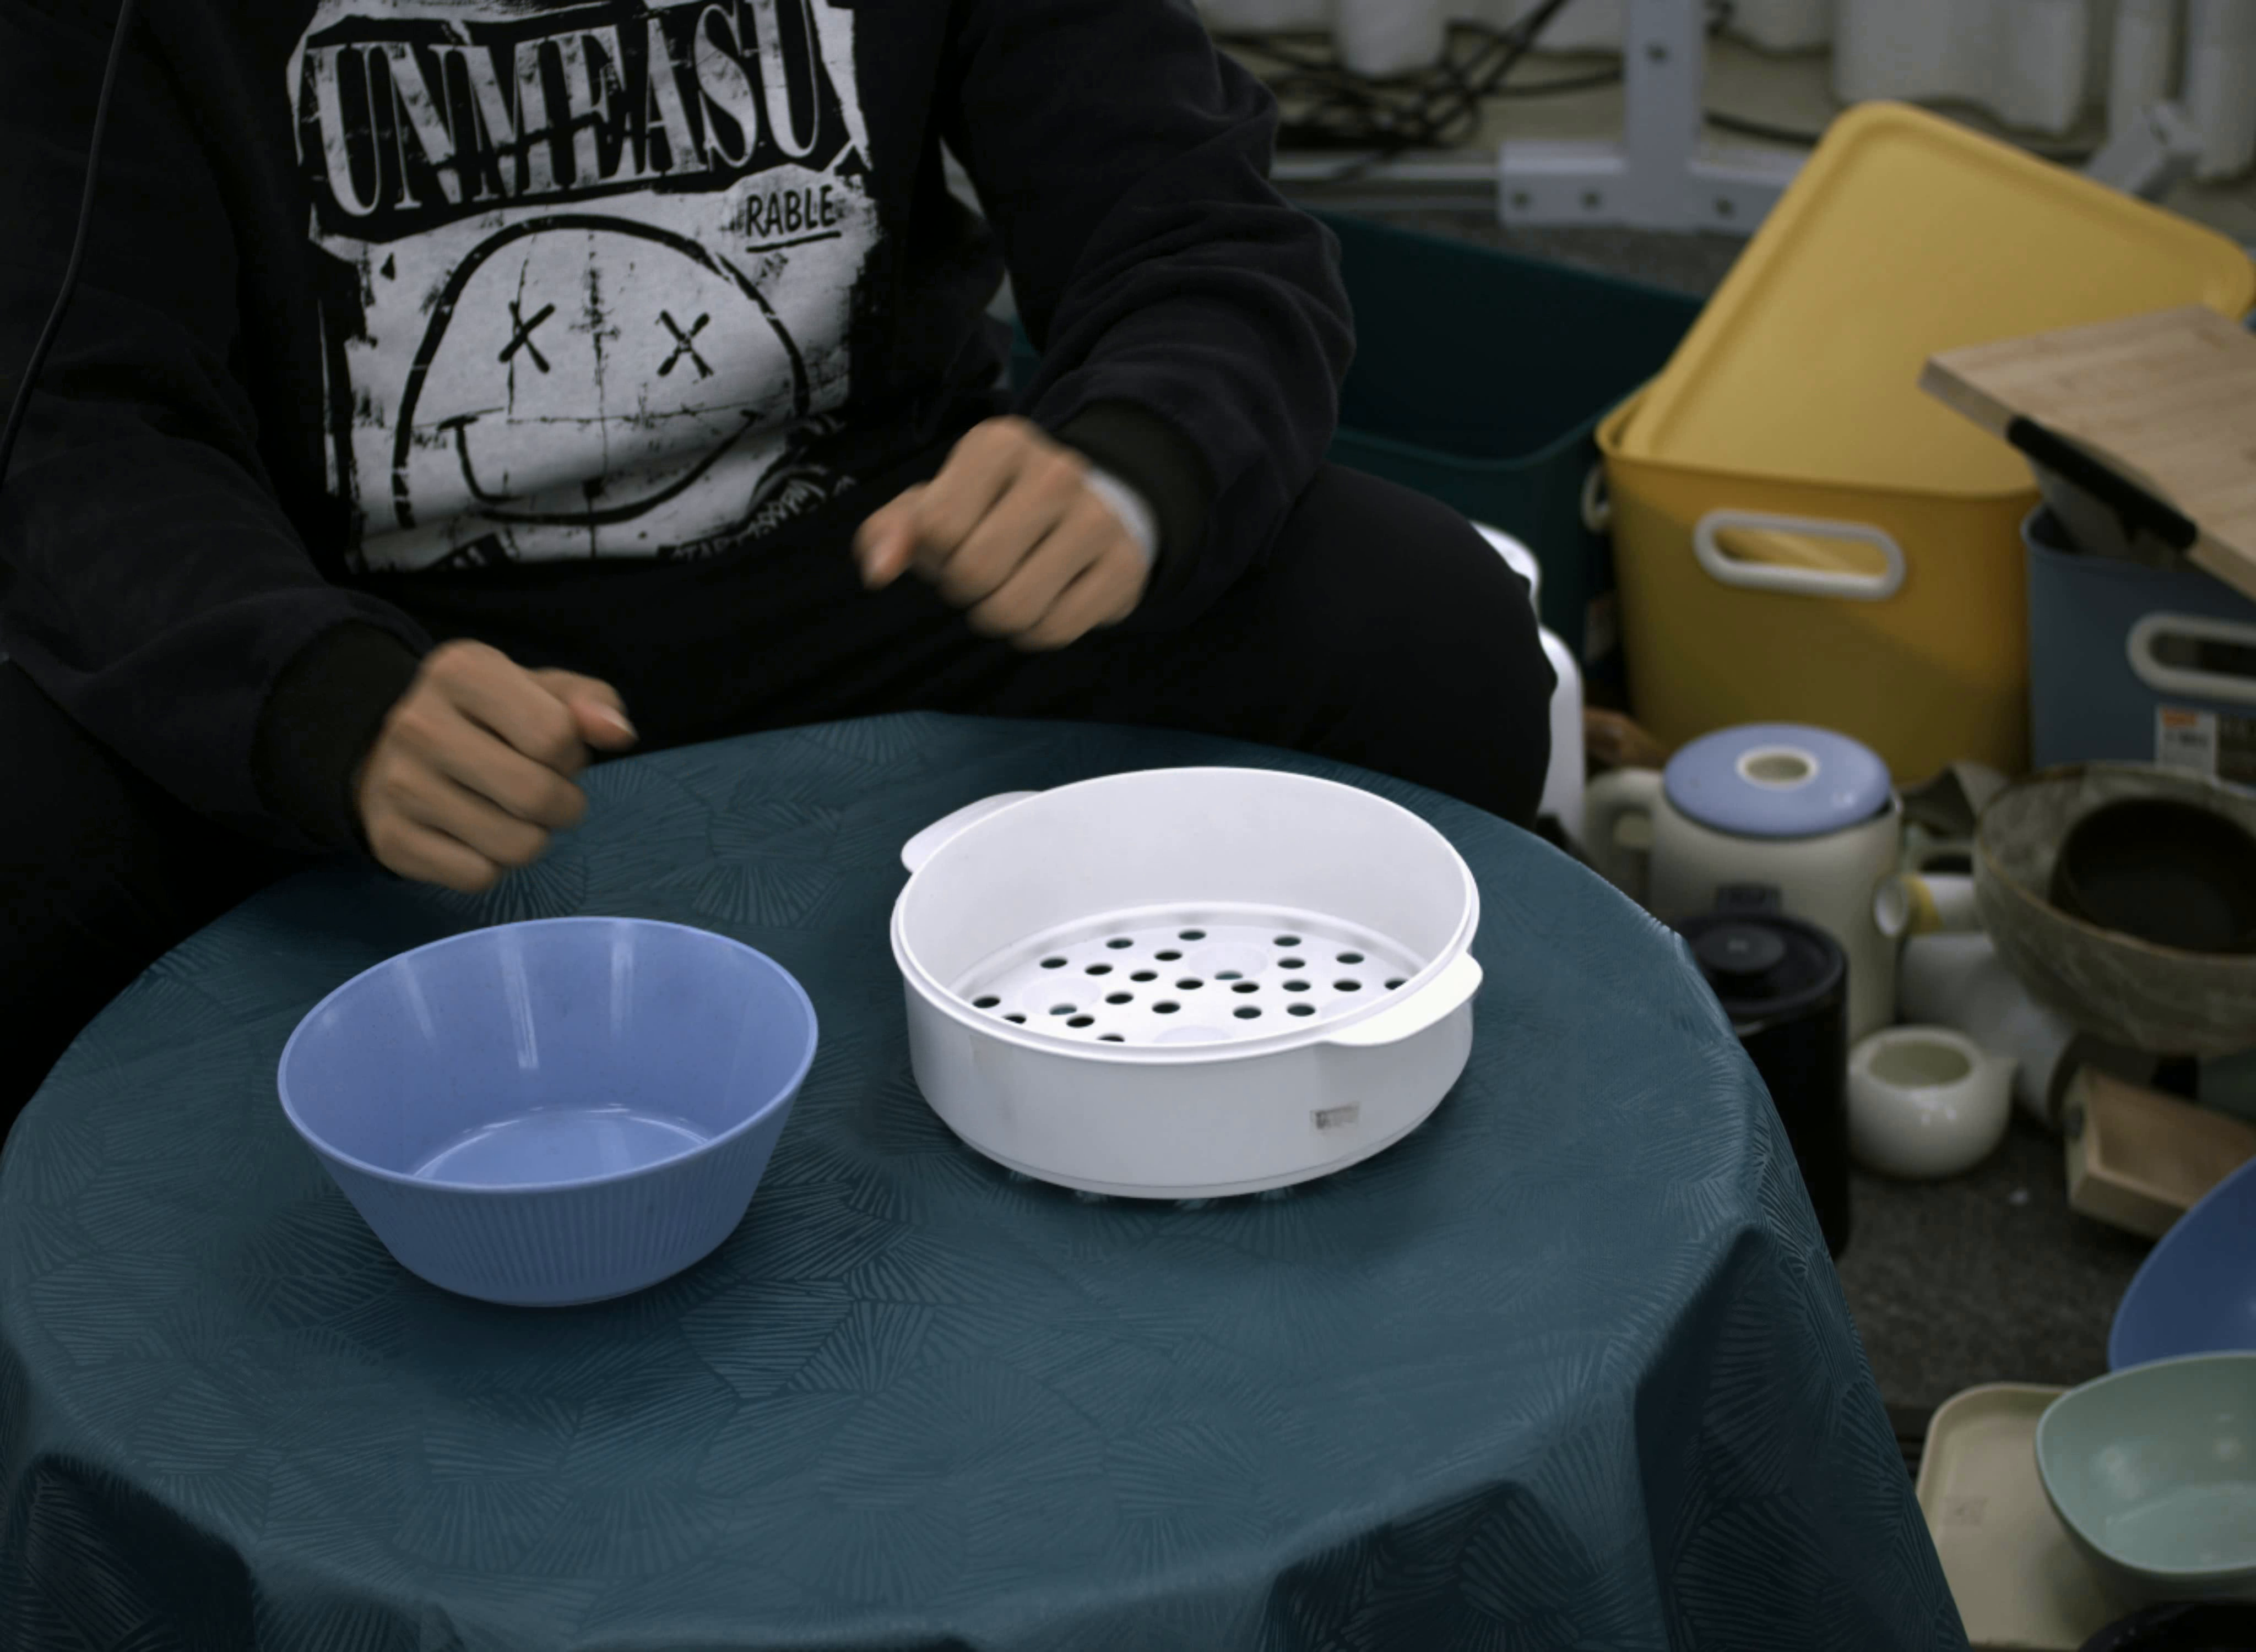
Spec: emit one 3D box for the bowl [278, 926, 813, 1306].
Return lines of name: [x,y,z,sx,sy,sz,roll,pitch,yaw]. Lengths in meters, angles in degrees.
bowl: [-0.188,0.101,1.843,0.175,0.069,0.178,-1,26,1]

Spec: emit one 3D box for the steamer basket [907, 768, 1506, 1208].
steamer basket: [0.026,0.055,1.913,0.230,0.068,0.204,23,37,36]
